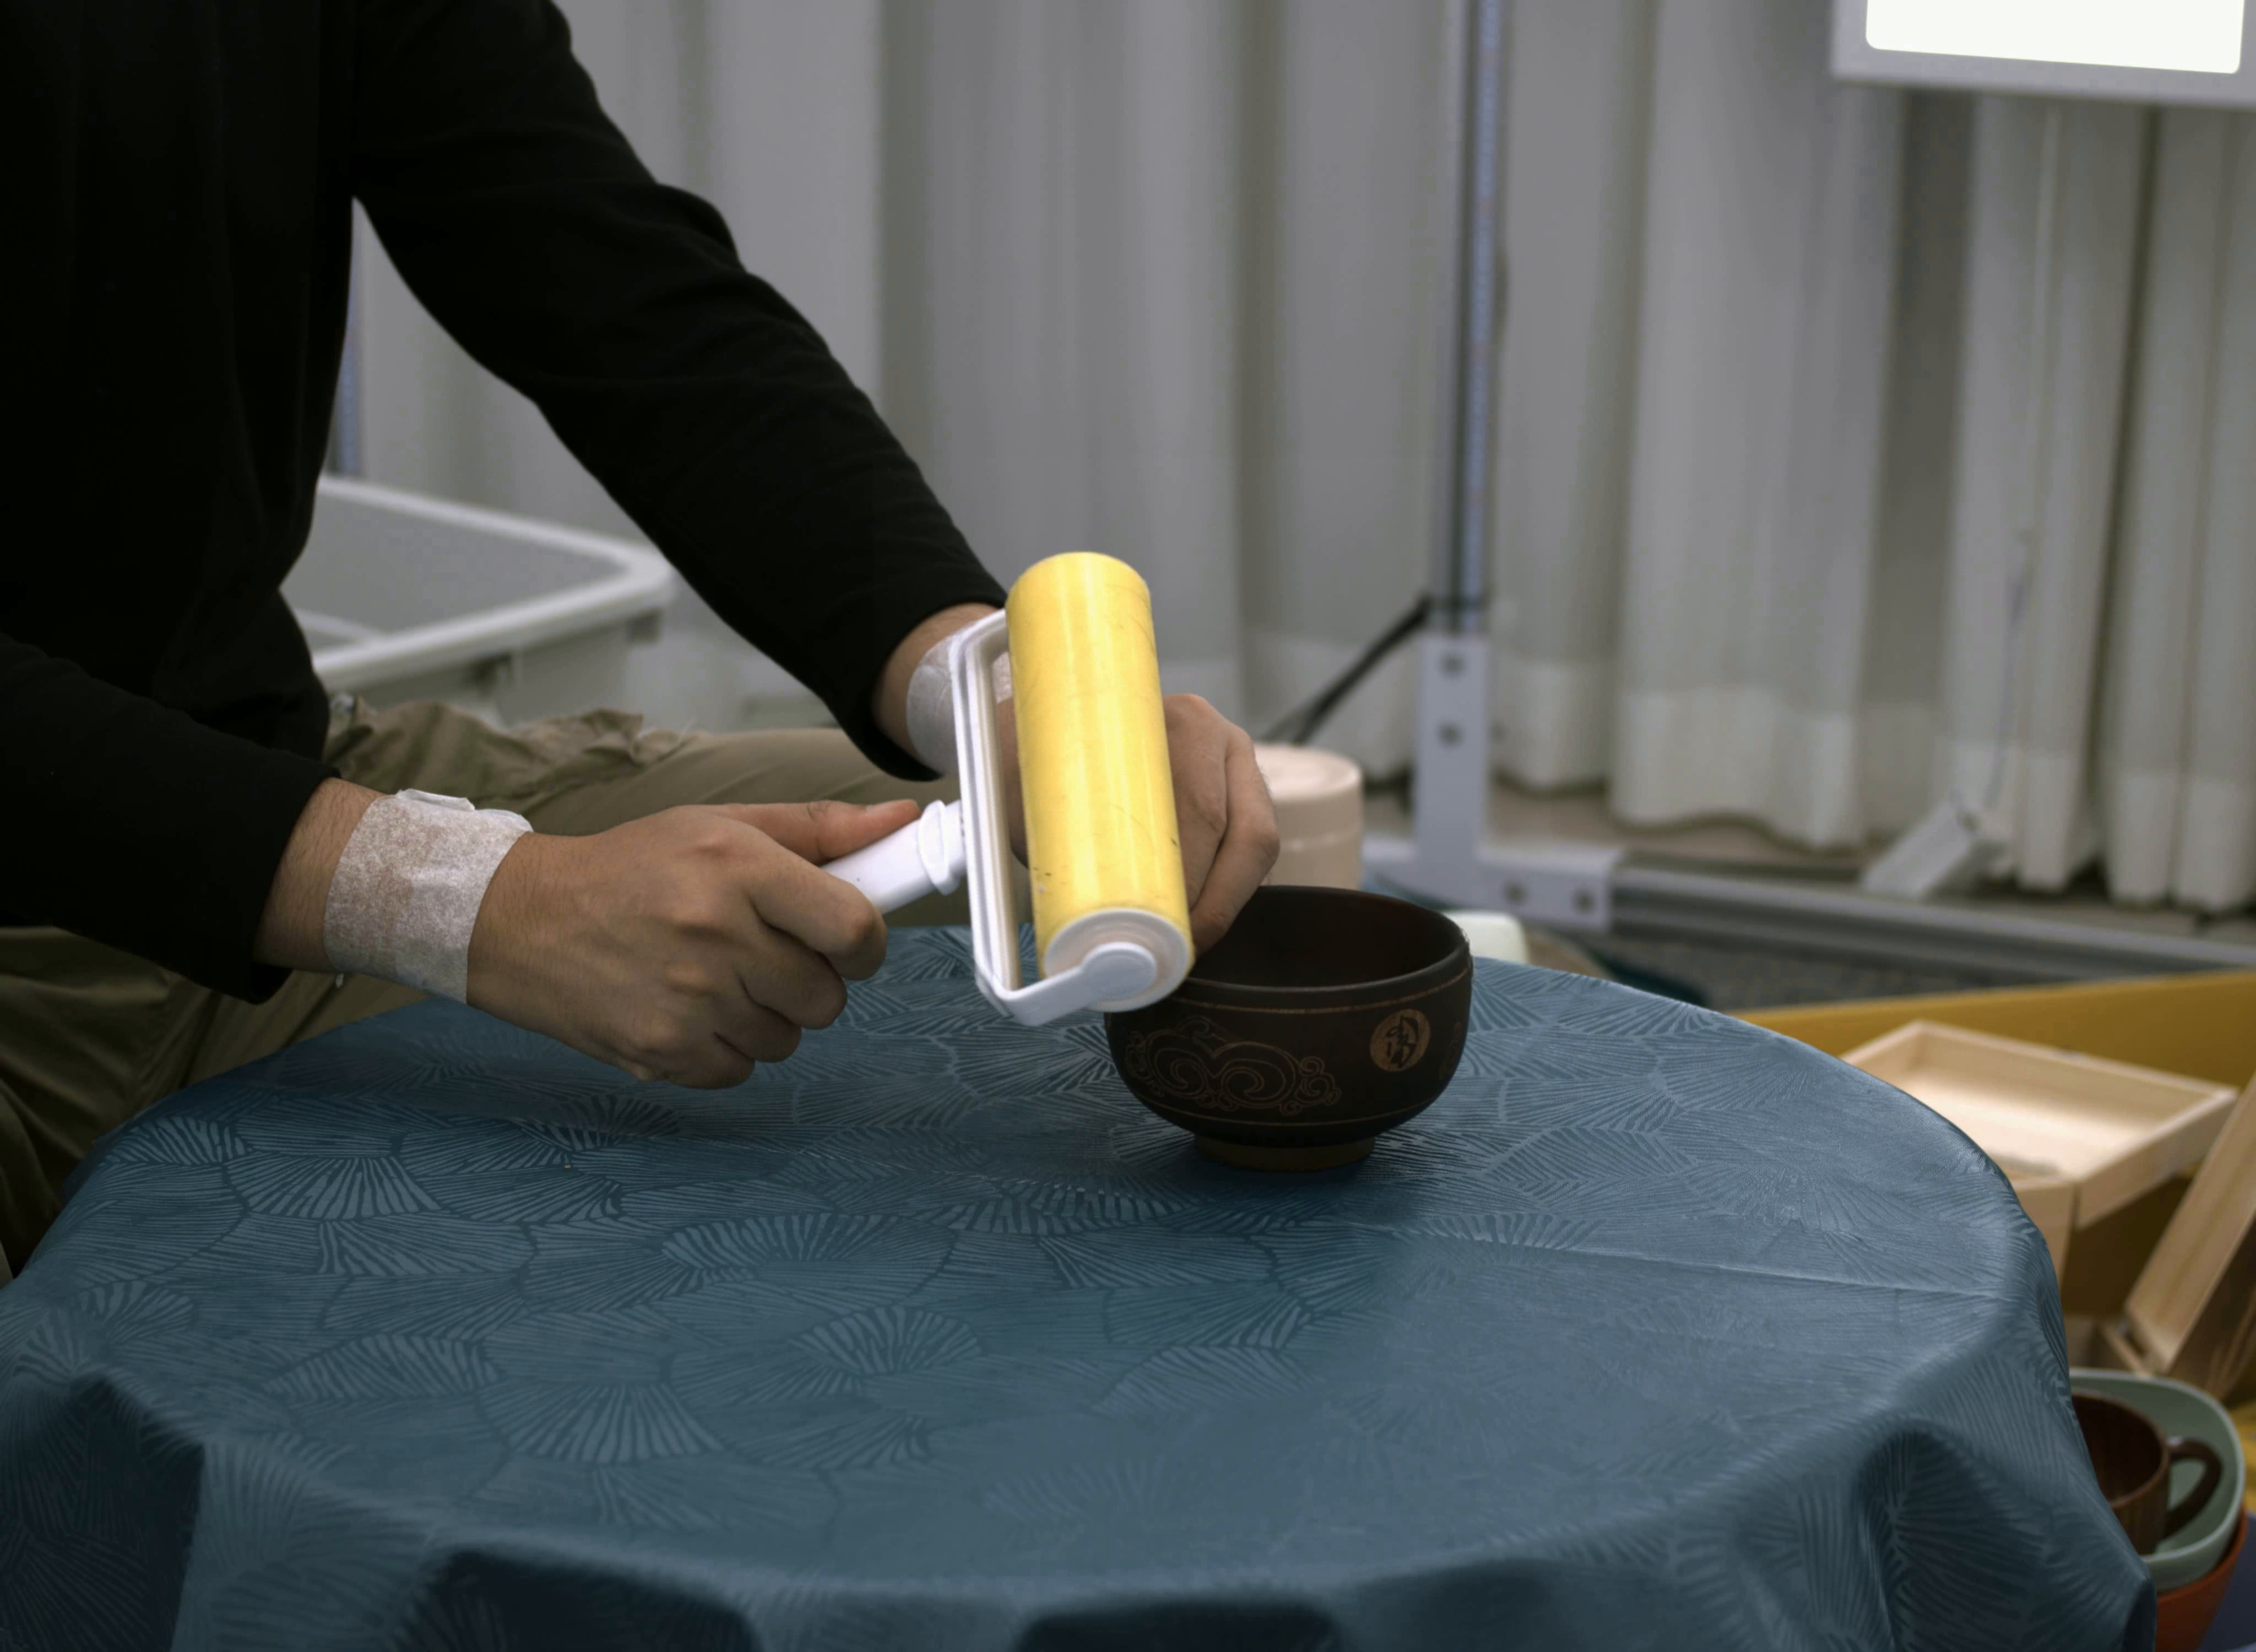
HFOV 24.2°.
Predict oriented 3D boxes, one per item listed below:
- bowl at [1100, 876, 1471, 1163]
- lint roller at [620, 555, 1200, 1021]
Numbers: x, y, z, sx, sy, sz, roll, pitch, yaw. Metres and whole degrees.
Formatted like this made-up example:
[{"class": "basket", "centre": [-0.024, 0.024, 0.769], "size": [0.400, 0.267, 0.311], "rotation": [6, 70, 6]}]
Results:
[{"class": "bowl", "centre": [0.049, 0.064, 1.655], "size": [0.117, 0.070, 0.117], "rotation": [2, 15, 0]}, {"class": "lint roller", "centre": [-0.076, 0.008, 1.648], "size": [0.191, 0.052, 0.172], "rotation": [-17, 44, 8]}]
